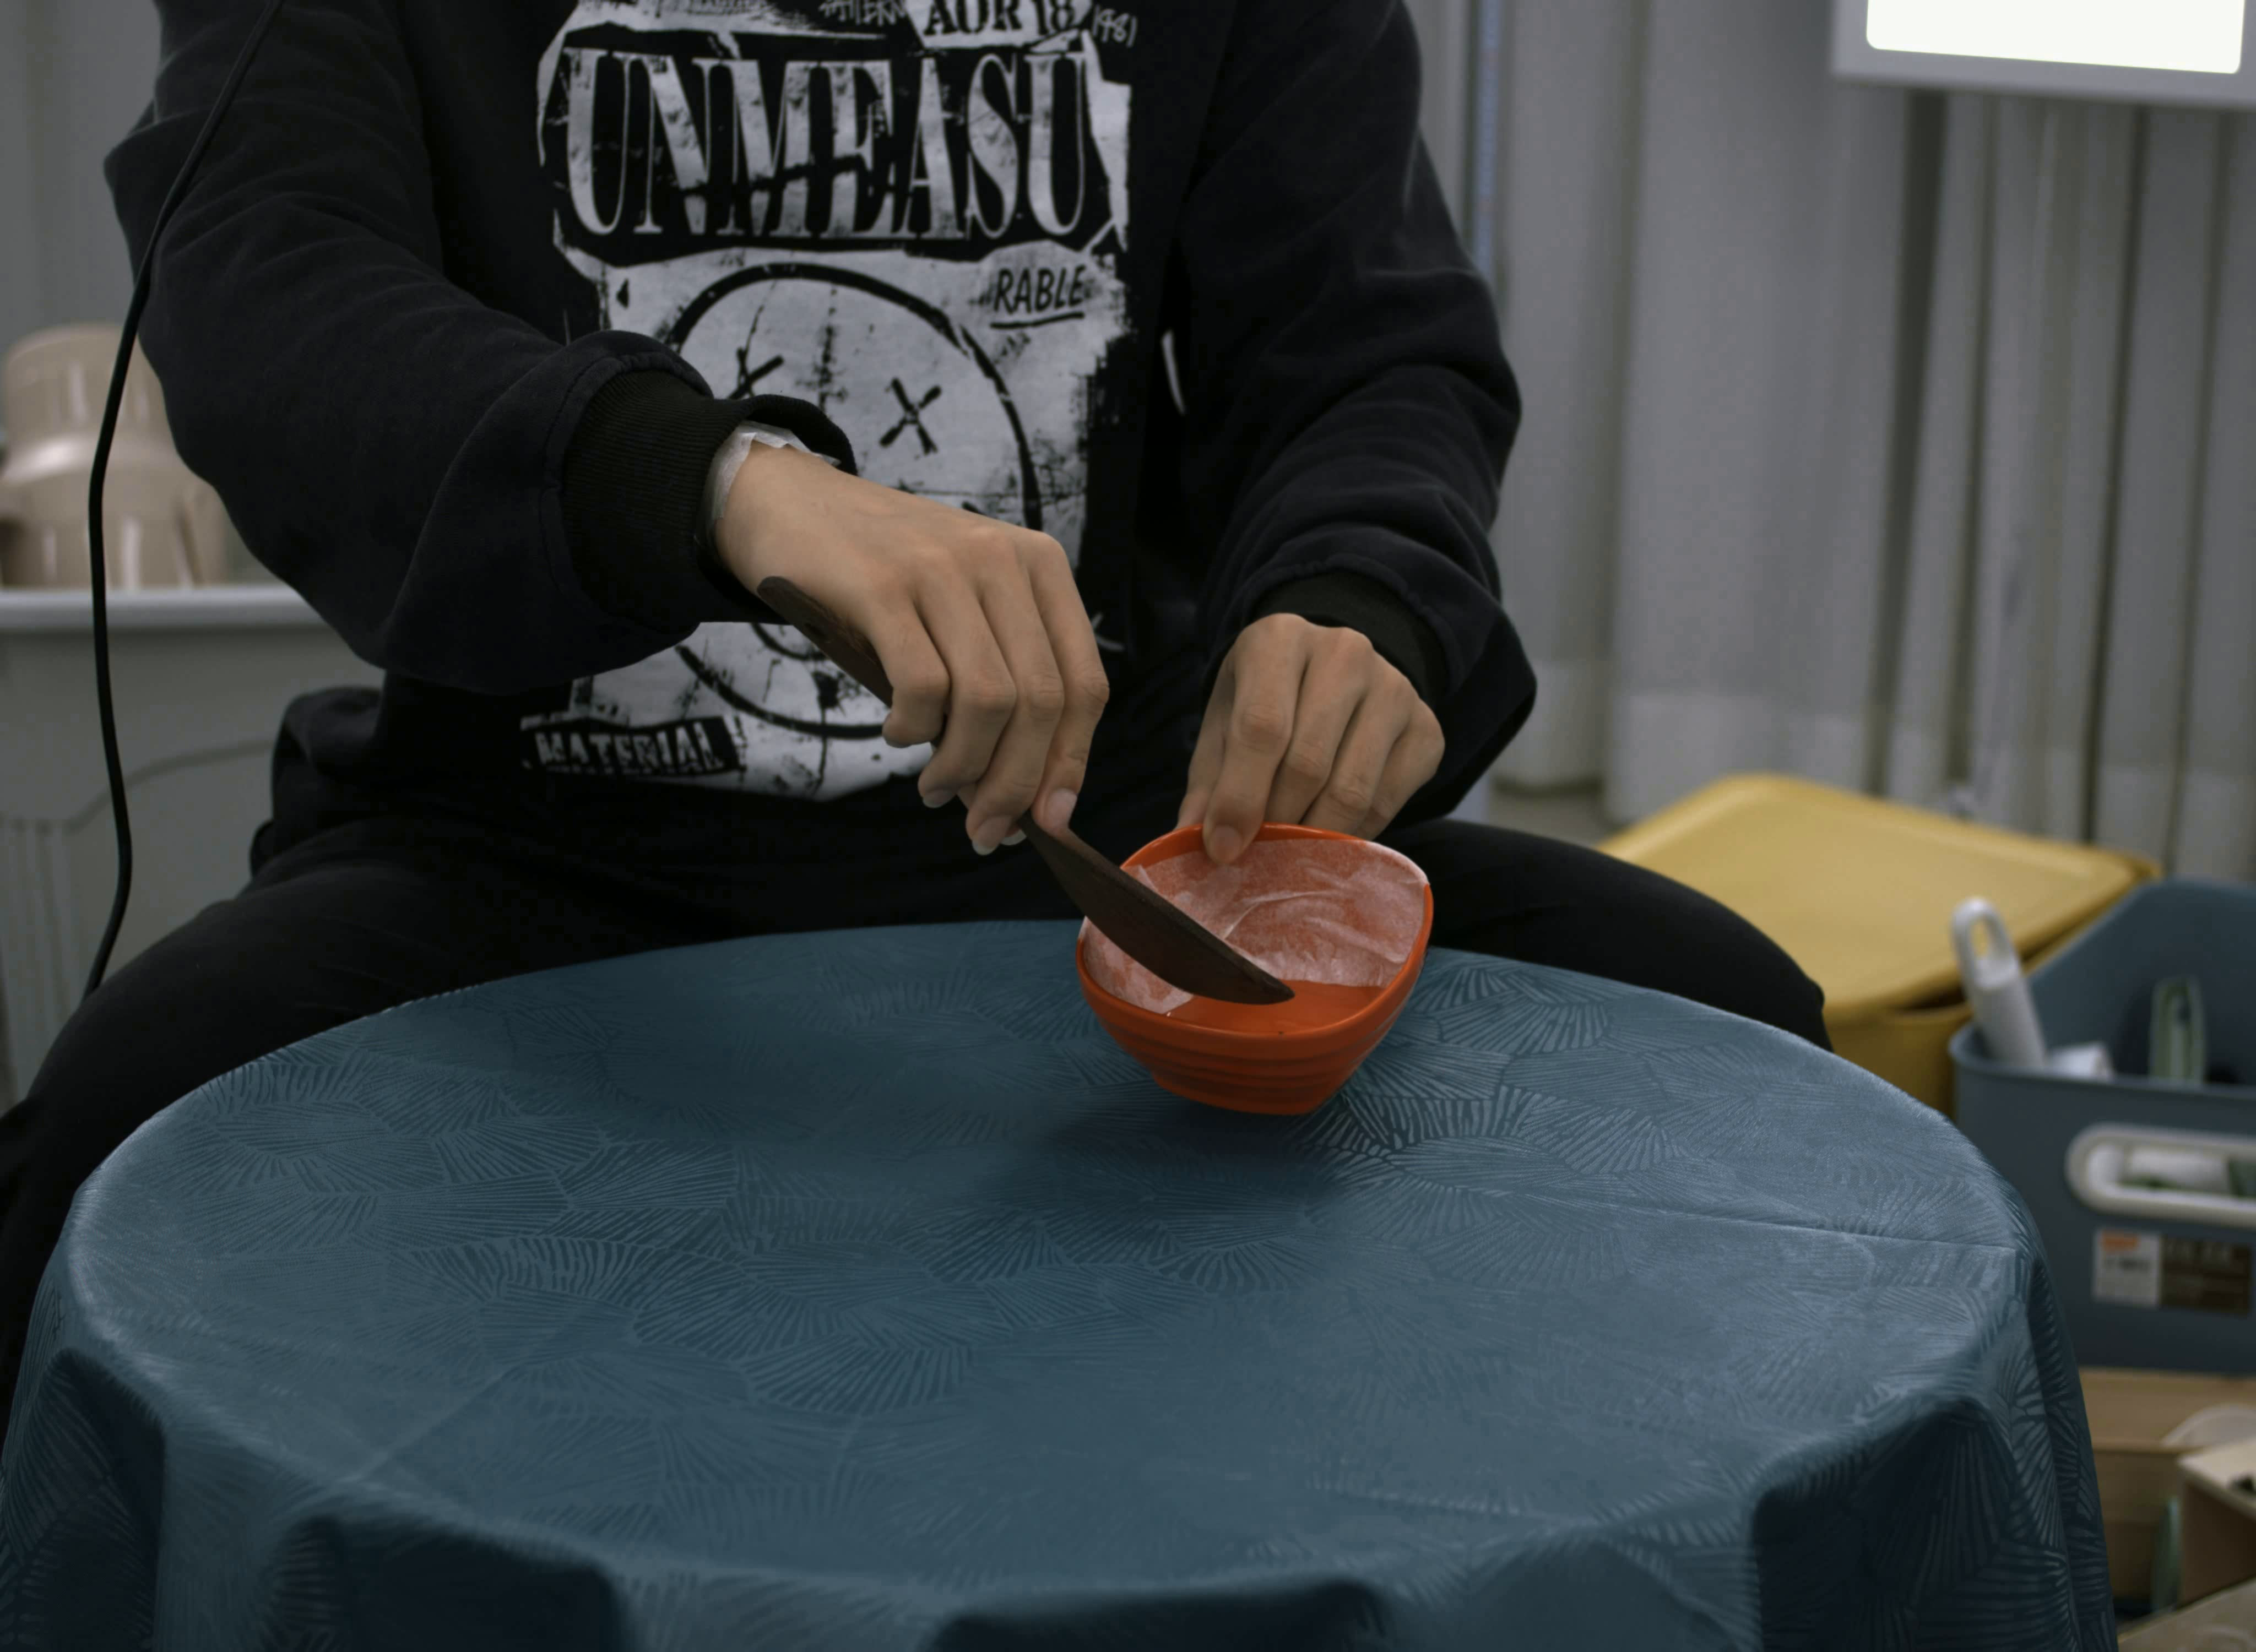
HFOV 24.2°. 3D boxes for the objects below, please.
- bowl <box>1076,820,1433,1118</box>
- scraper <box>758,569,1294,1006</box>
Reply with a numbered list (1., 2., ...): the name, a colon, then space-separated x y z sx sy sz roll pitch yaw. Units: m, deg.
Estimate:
1. bowl: 0.042 0.052 1.688 0.118 0.052 0.118 -2 38 2
2. scraper: -0.035 -0.009 1.626 0.011 0.213 0.075 -54 21 -17
